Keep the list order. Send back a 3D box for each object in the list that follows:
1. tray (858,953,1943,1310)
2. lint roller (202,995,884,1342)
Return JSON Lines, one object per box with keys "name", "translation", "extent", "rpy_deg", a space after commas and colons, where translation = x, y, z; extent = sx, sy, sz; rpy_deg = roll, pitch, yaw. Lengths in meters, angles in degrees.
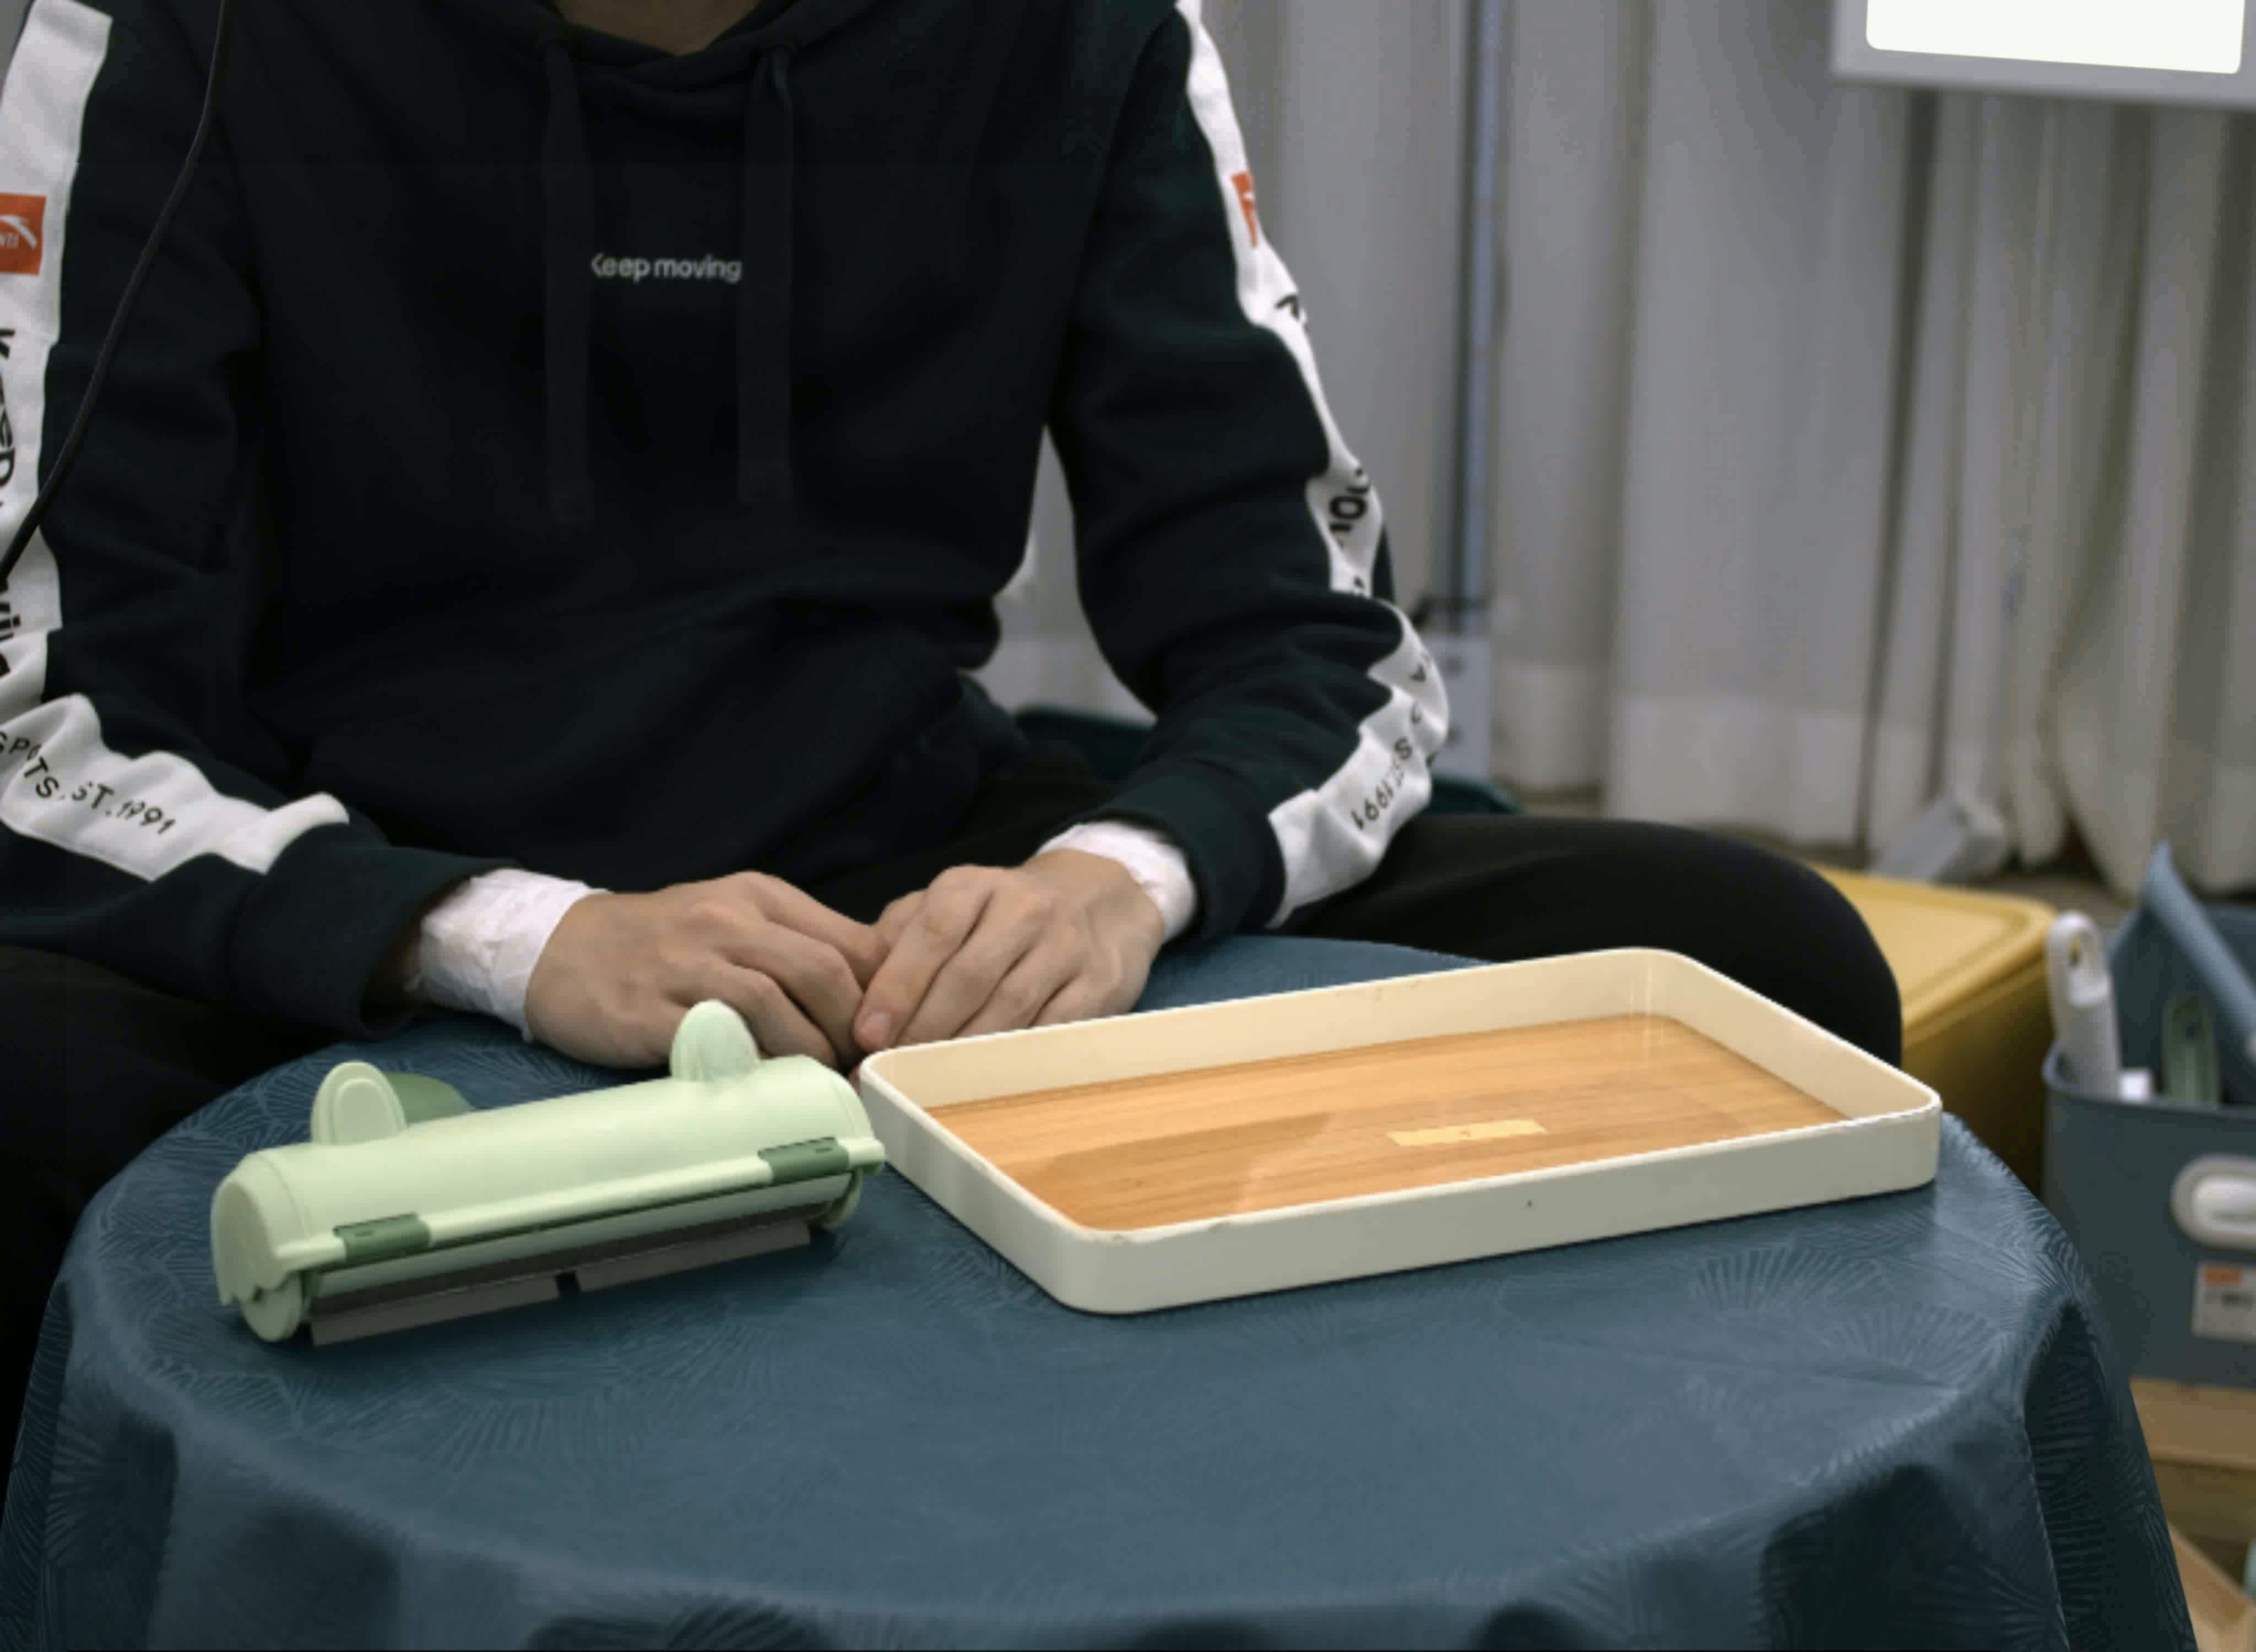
{"name": "tray", "translation": [0.084, 0.092, 1.646], "extent": [0.301, 0.027, 0.189], "rpy_deg": [-7, 16, -24]}
{"name": "lint roller", "translation": [-0.198, 0.084, 1.572], "extent": [0.199, 0.083, 0.181], "rpy_deg": [-9, 23, -31]}
